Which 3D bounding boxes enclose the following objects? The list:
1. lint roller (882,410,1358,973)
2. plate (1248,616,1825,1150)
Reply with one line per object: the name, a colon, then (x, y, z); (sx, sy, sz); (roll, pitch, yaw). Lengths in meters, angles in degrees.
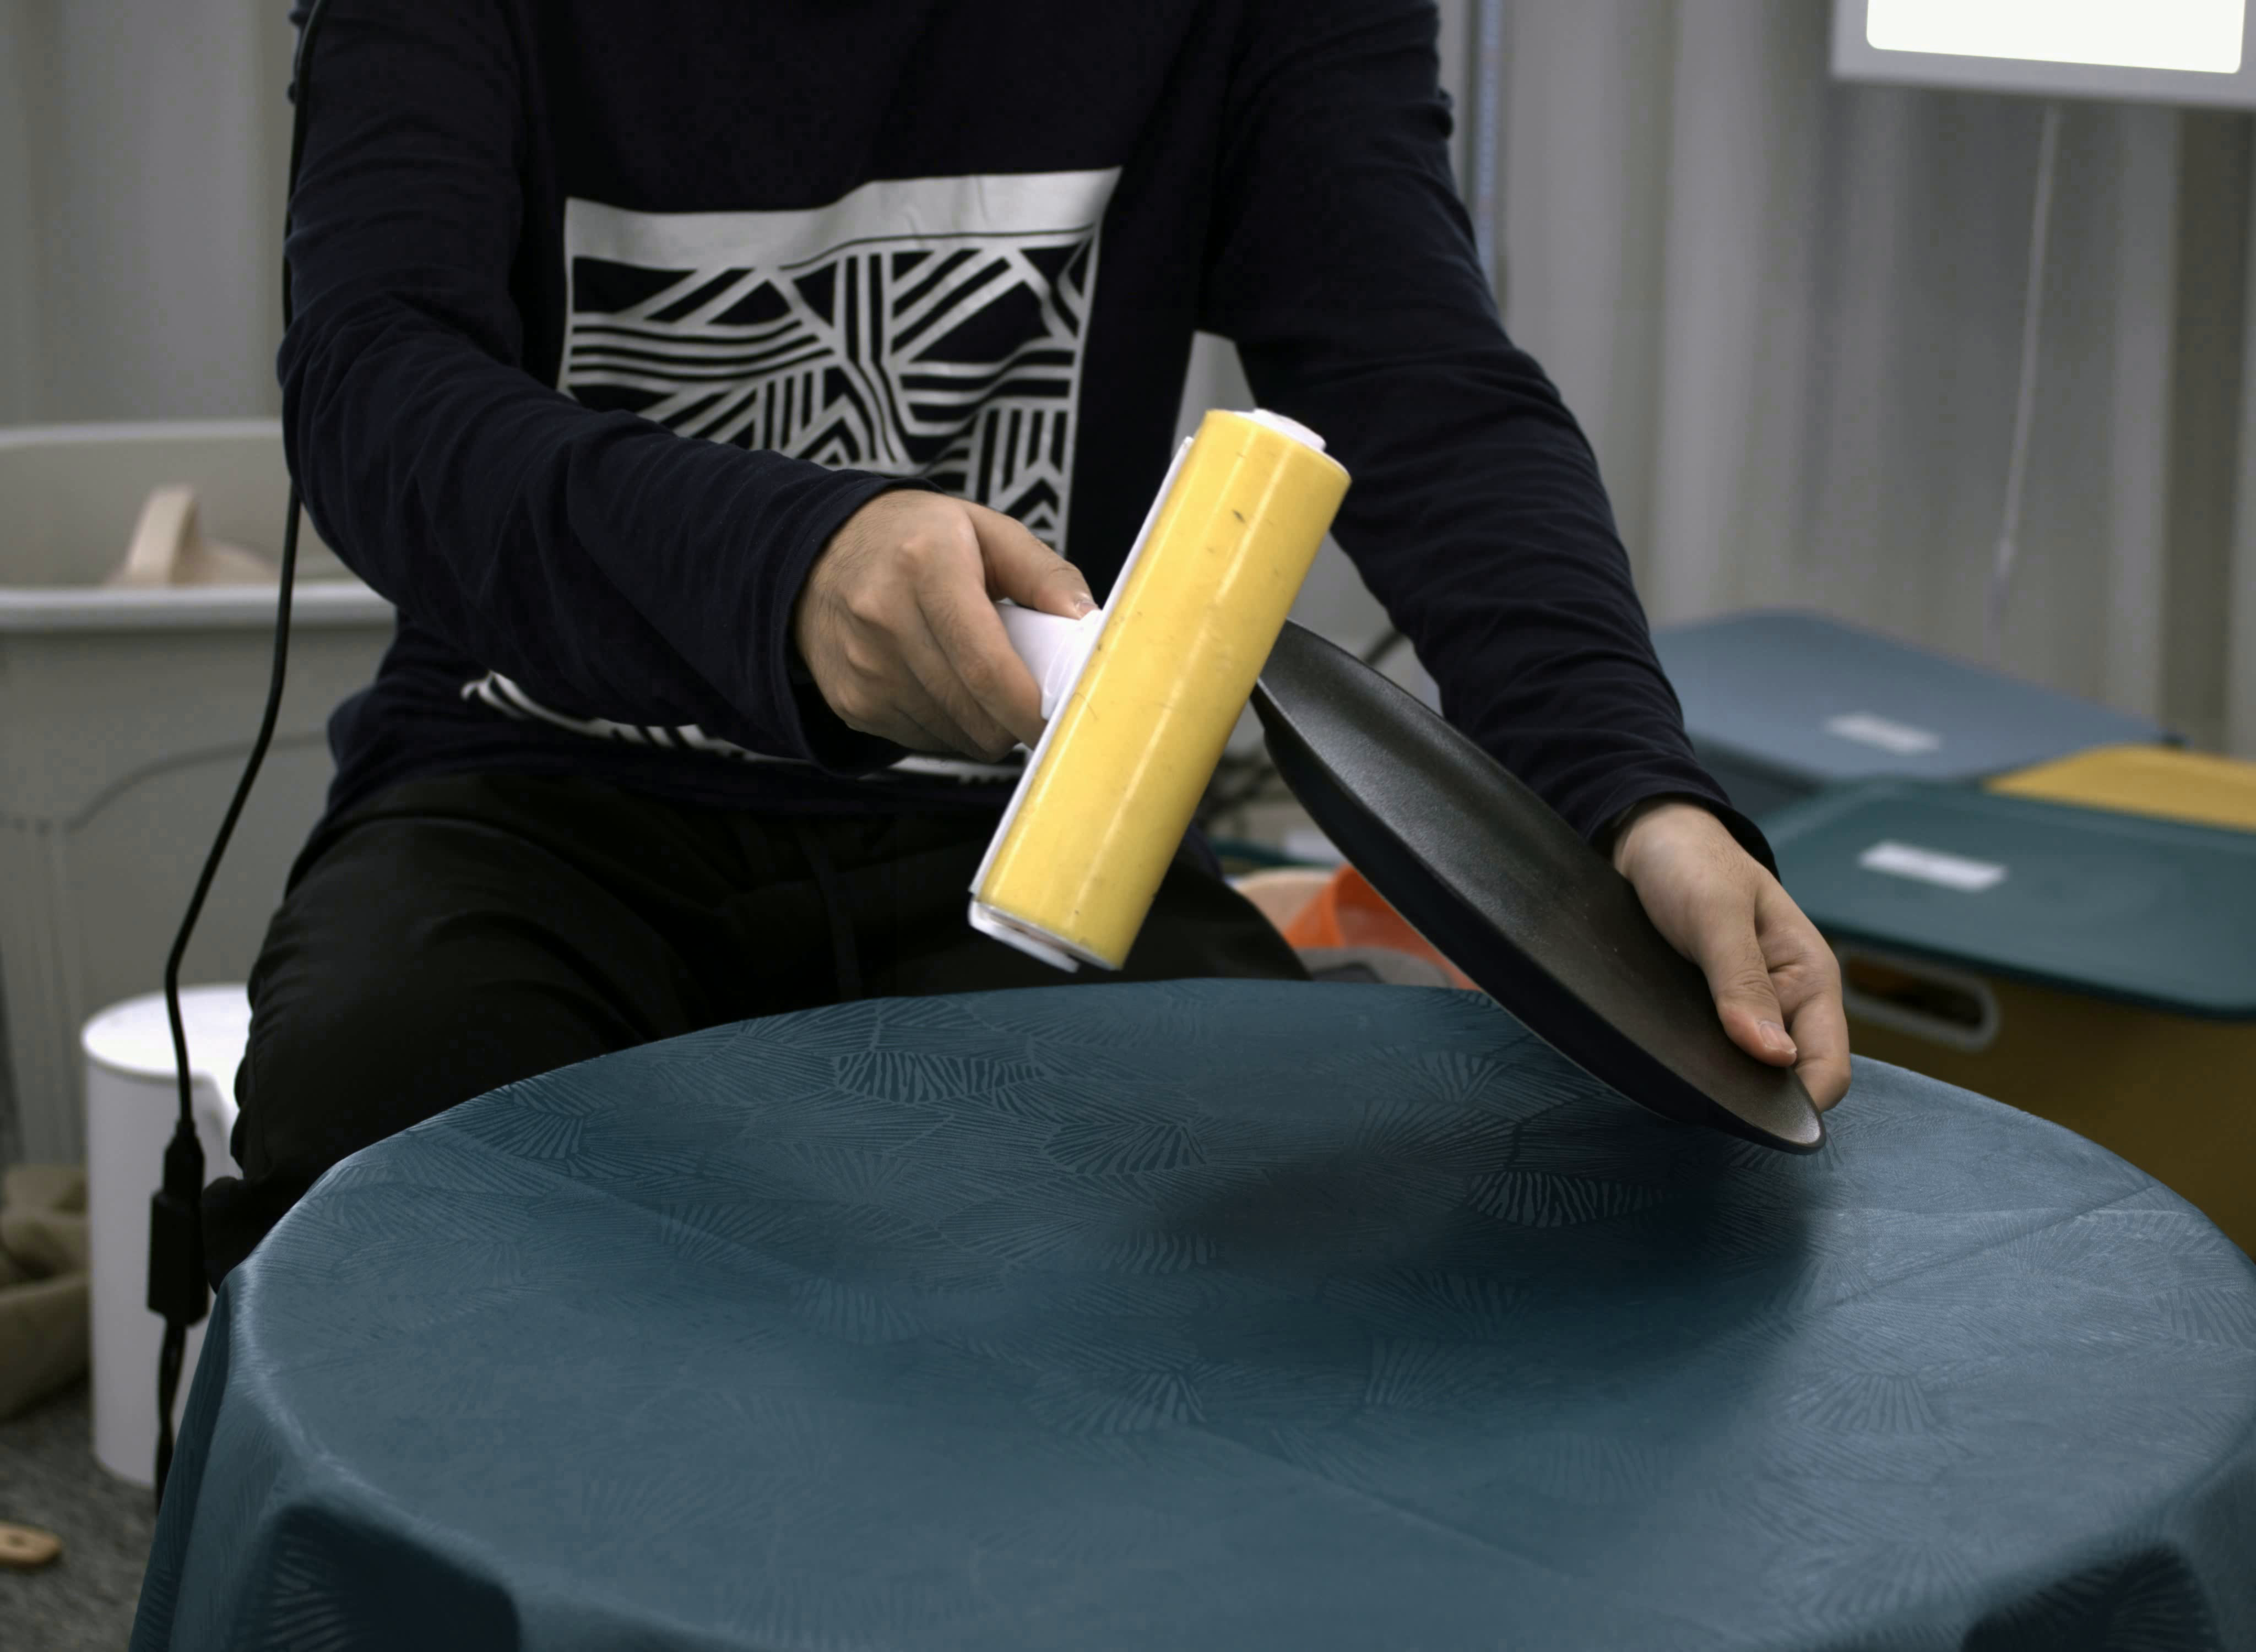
lint roller: (-0.030, -0.051, 1.587); (0.052, 0.174, 0.189); (31, -9, -38)
plate: (0.116, 0.021, 1.610); (0.245, 0.023, 0.243); (40, 12, -9)
